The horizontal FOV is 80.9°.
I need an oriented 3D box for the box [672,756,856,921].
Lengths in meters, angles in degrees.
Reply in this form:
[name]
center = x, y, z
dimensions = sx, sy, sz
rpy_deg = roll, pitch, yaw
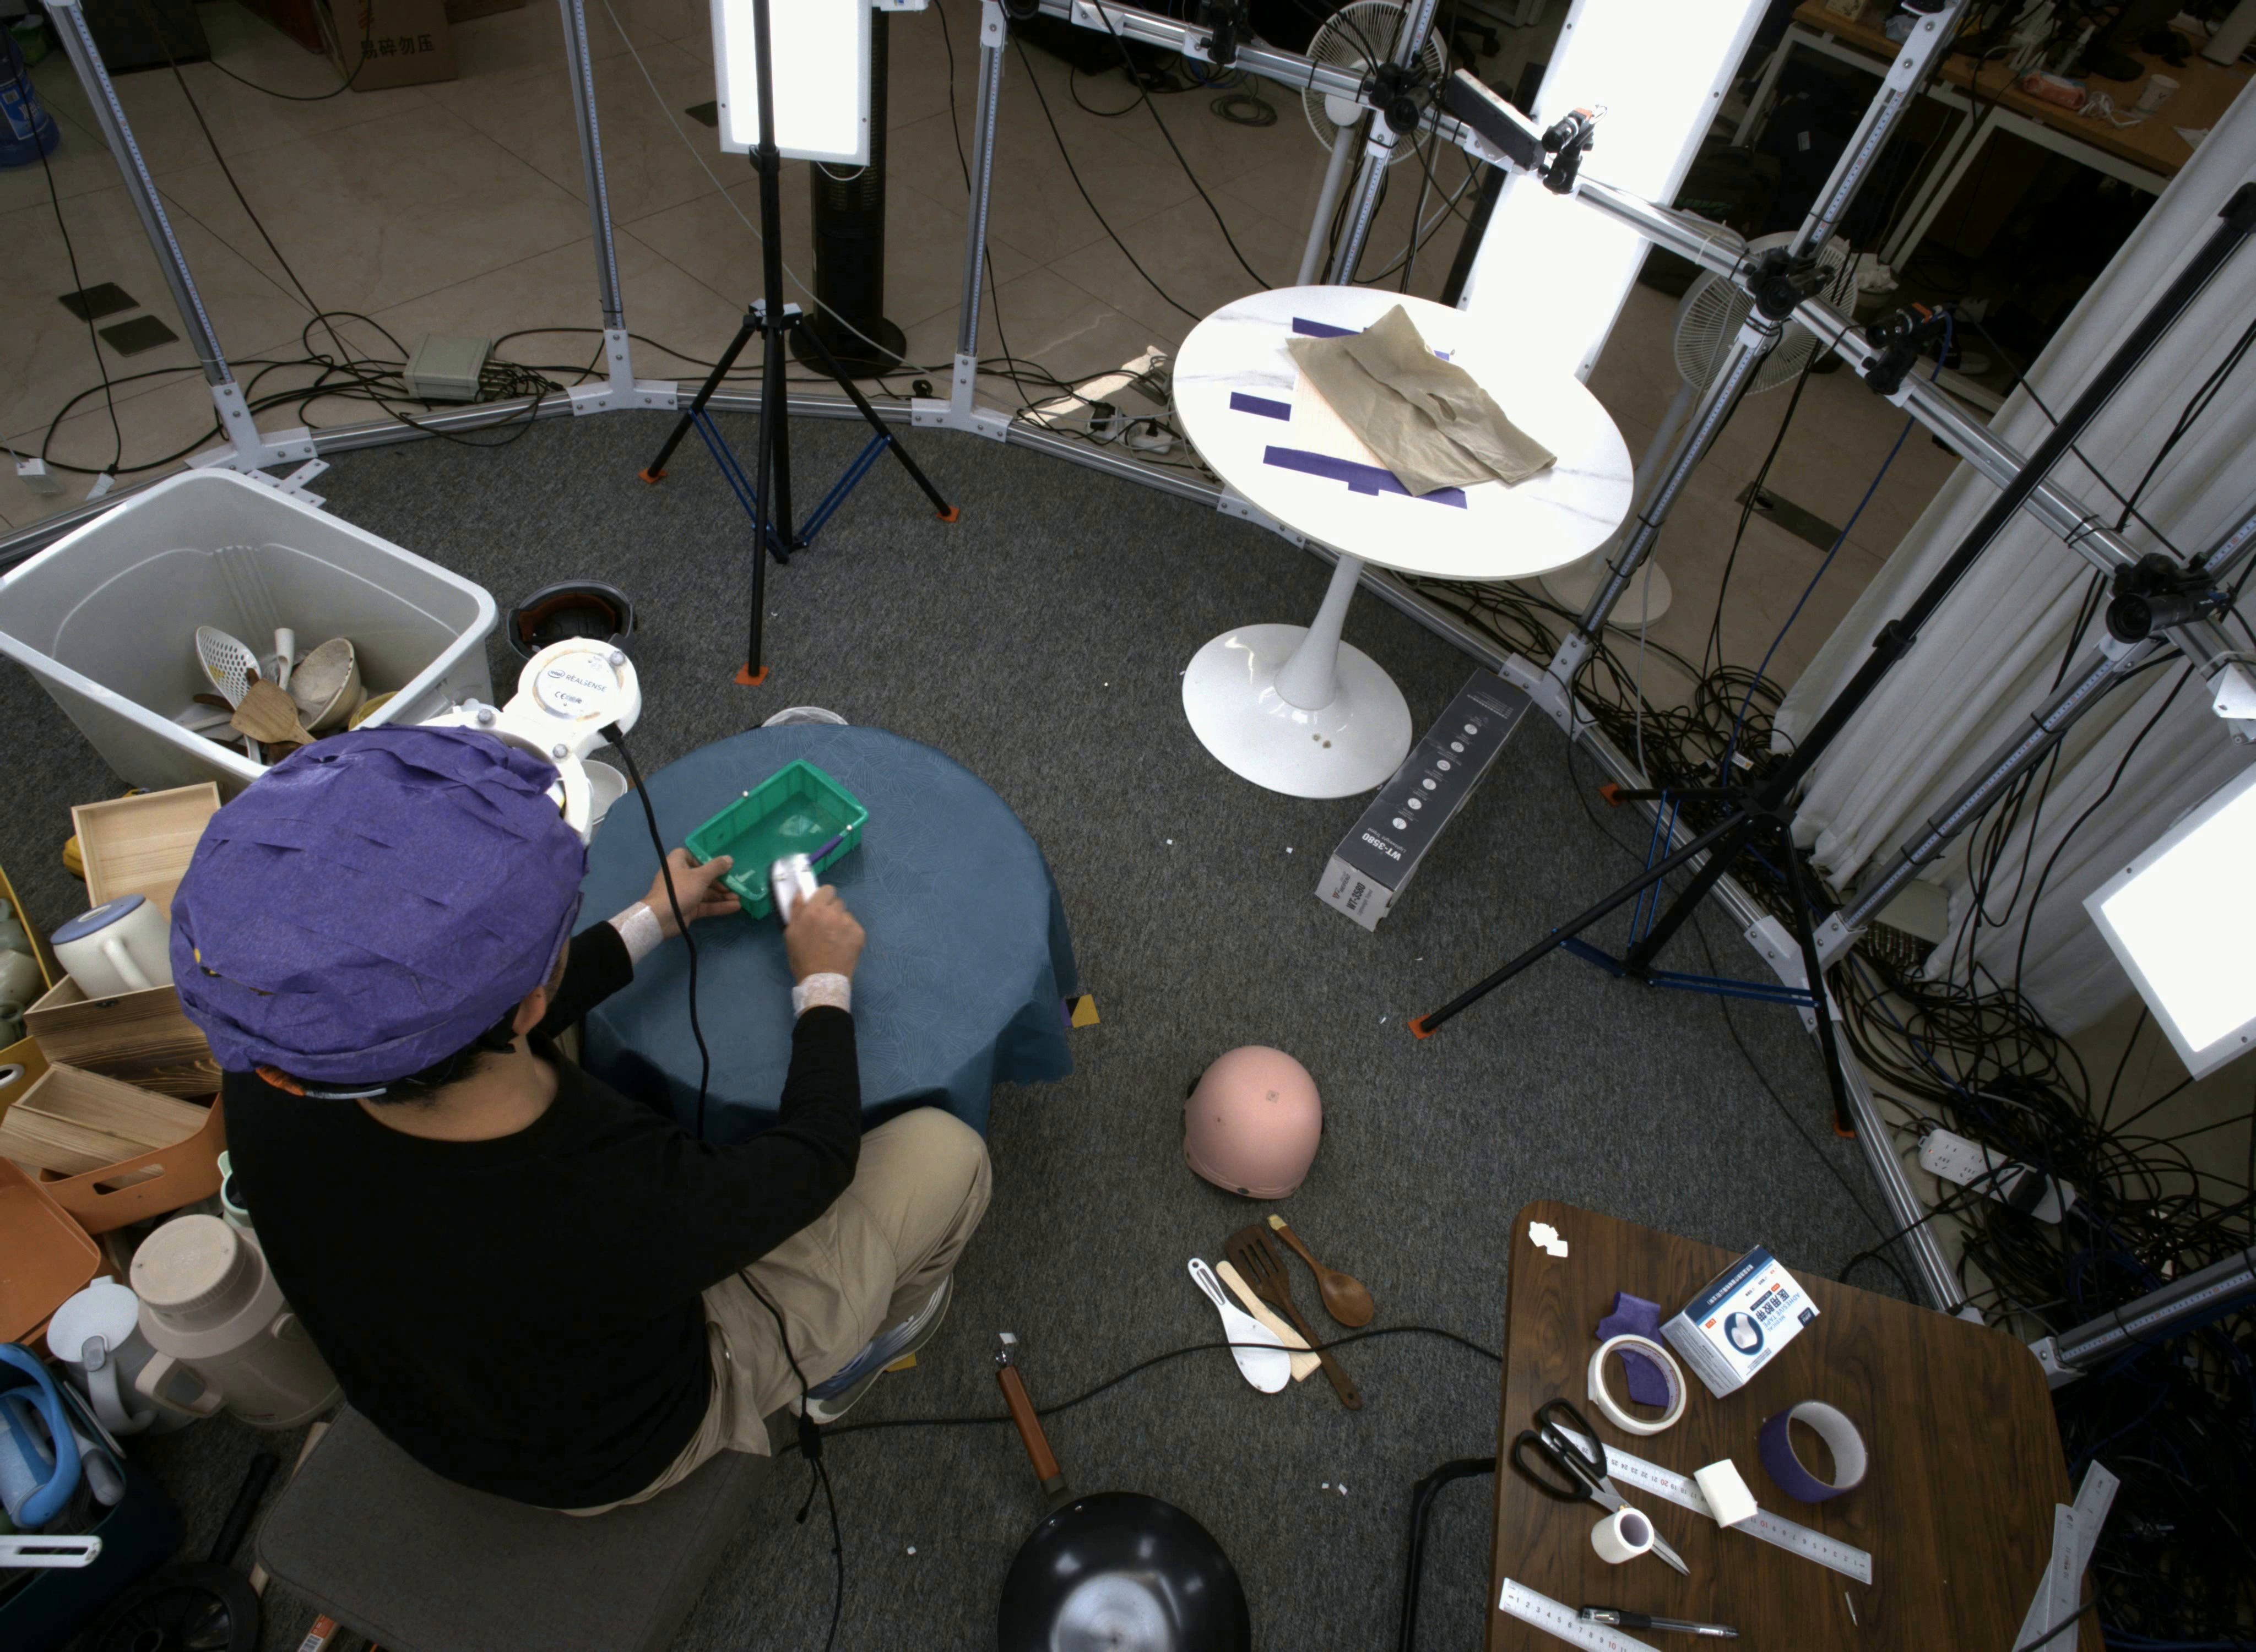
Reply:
[box]
center = -0.463, 0.016, 1.656
dimensions = 0.136, 0.066, 0.210
rpy_deg = 36, 52, 11

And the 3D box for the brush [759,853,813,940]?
[brush]
center = -0.399, 0.079, 1.541
dimensions = 0.051, 0.071, 0.100
rpy_deg = -6, 82, -40
